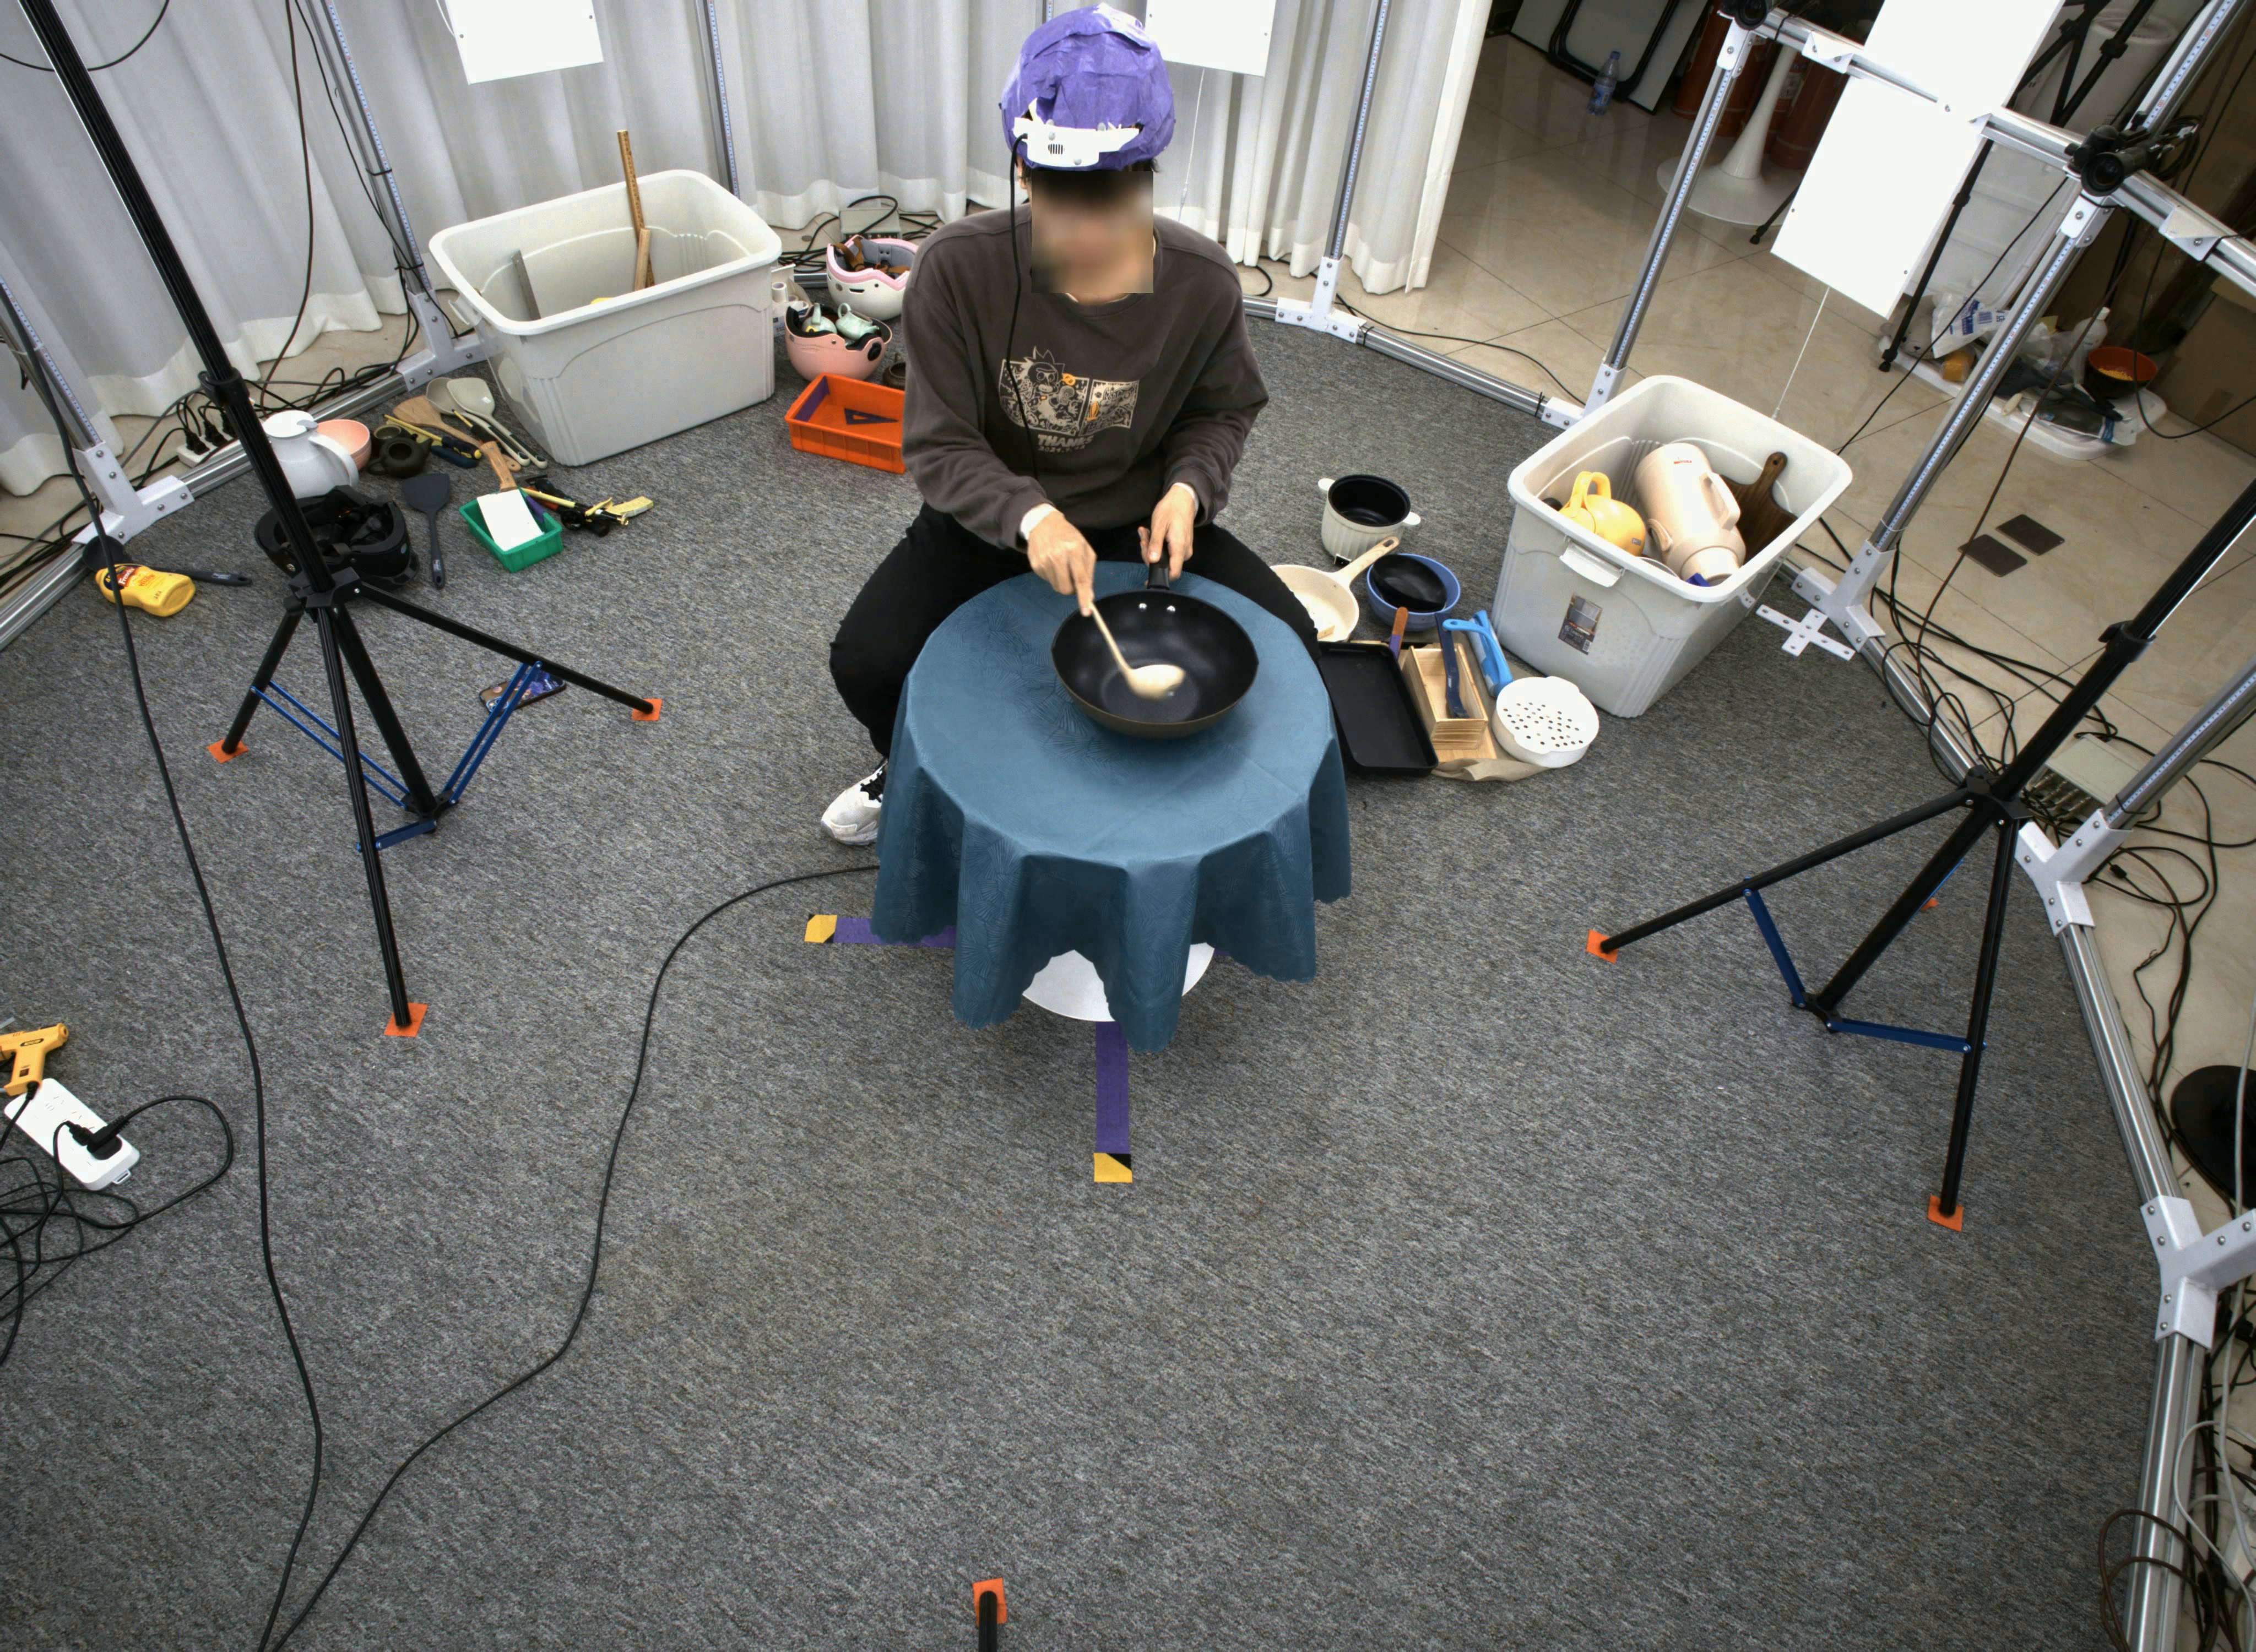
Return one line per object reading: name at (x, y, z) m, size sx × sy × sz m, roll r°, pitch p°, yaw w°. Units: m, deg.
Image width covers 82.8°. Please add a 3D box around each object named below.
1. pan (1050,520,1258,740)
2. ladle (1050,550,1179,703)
pan at (0.039, -0.280, 1.860) m, size 0.288 × 0.085 × 0.475 m, roll 4°, pitch 47°, yaw 0°
ladle at (-0.017, -0.286, 1.756) m, size 0.073 × 0.071 × 0.257 m, roll -27°, pitch 79°, yaw -7°
